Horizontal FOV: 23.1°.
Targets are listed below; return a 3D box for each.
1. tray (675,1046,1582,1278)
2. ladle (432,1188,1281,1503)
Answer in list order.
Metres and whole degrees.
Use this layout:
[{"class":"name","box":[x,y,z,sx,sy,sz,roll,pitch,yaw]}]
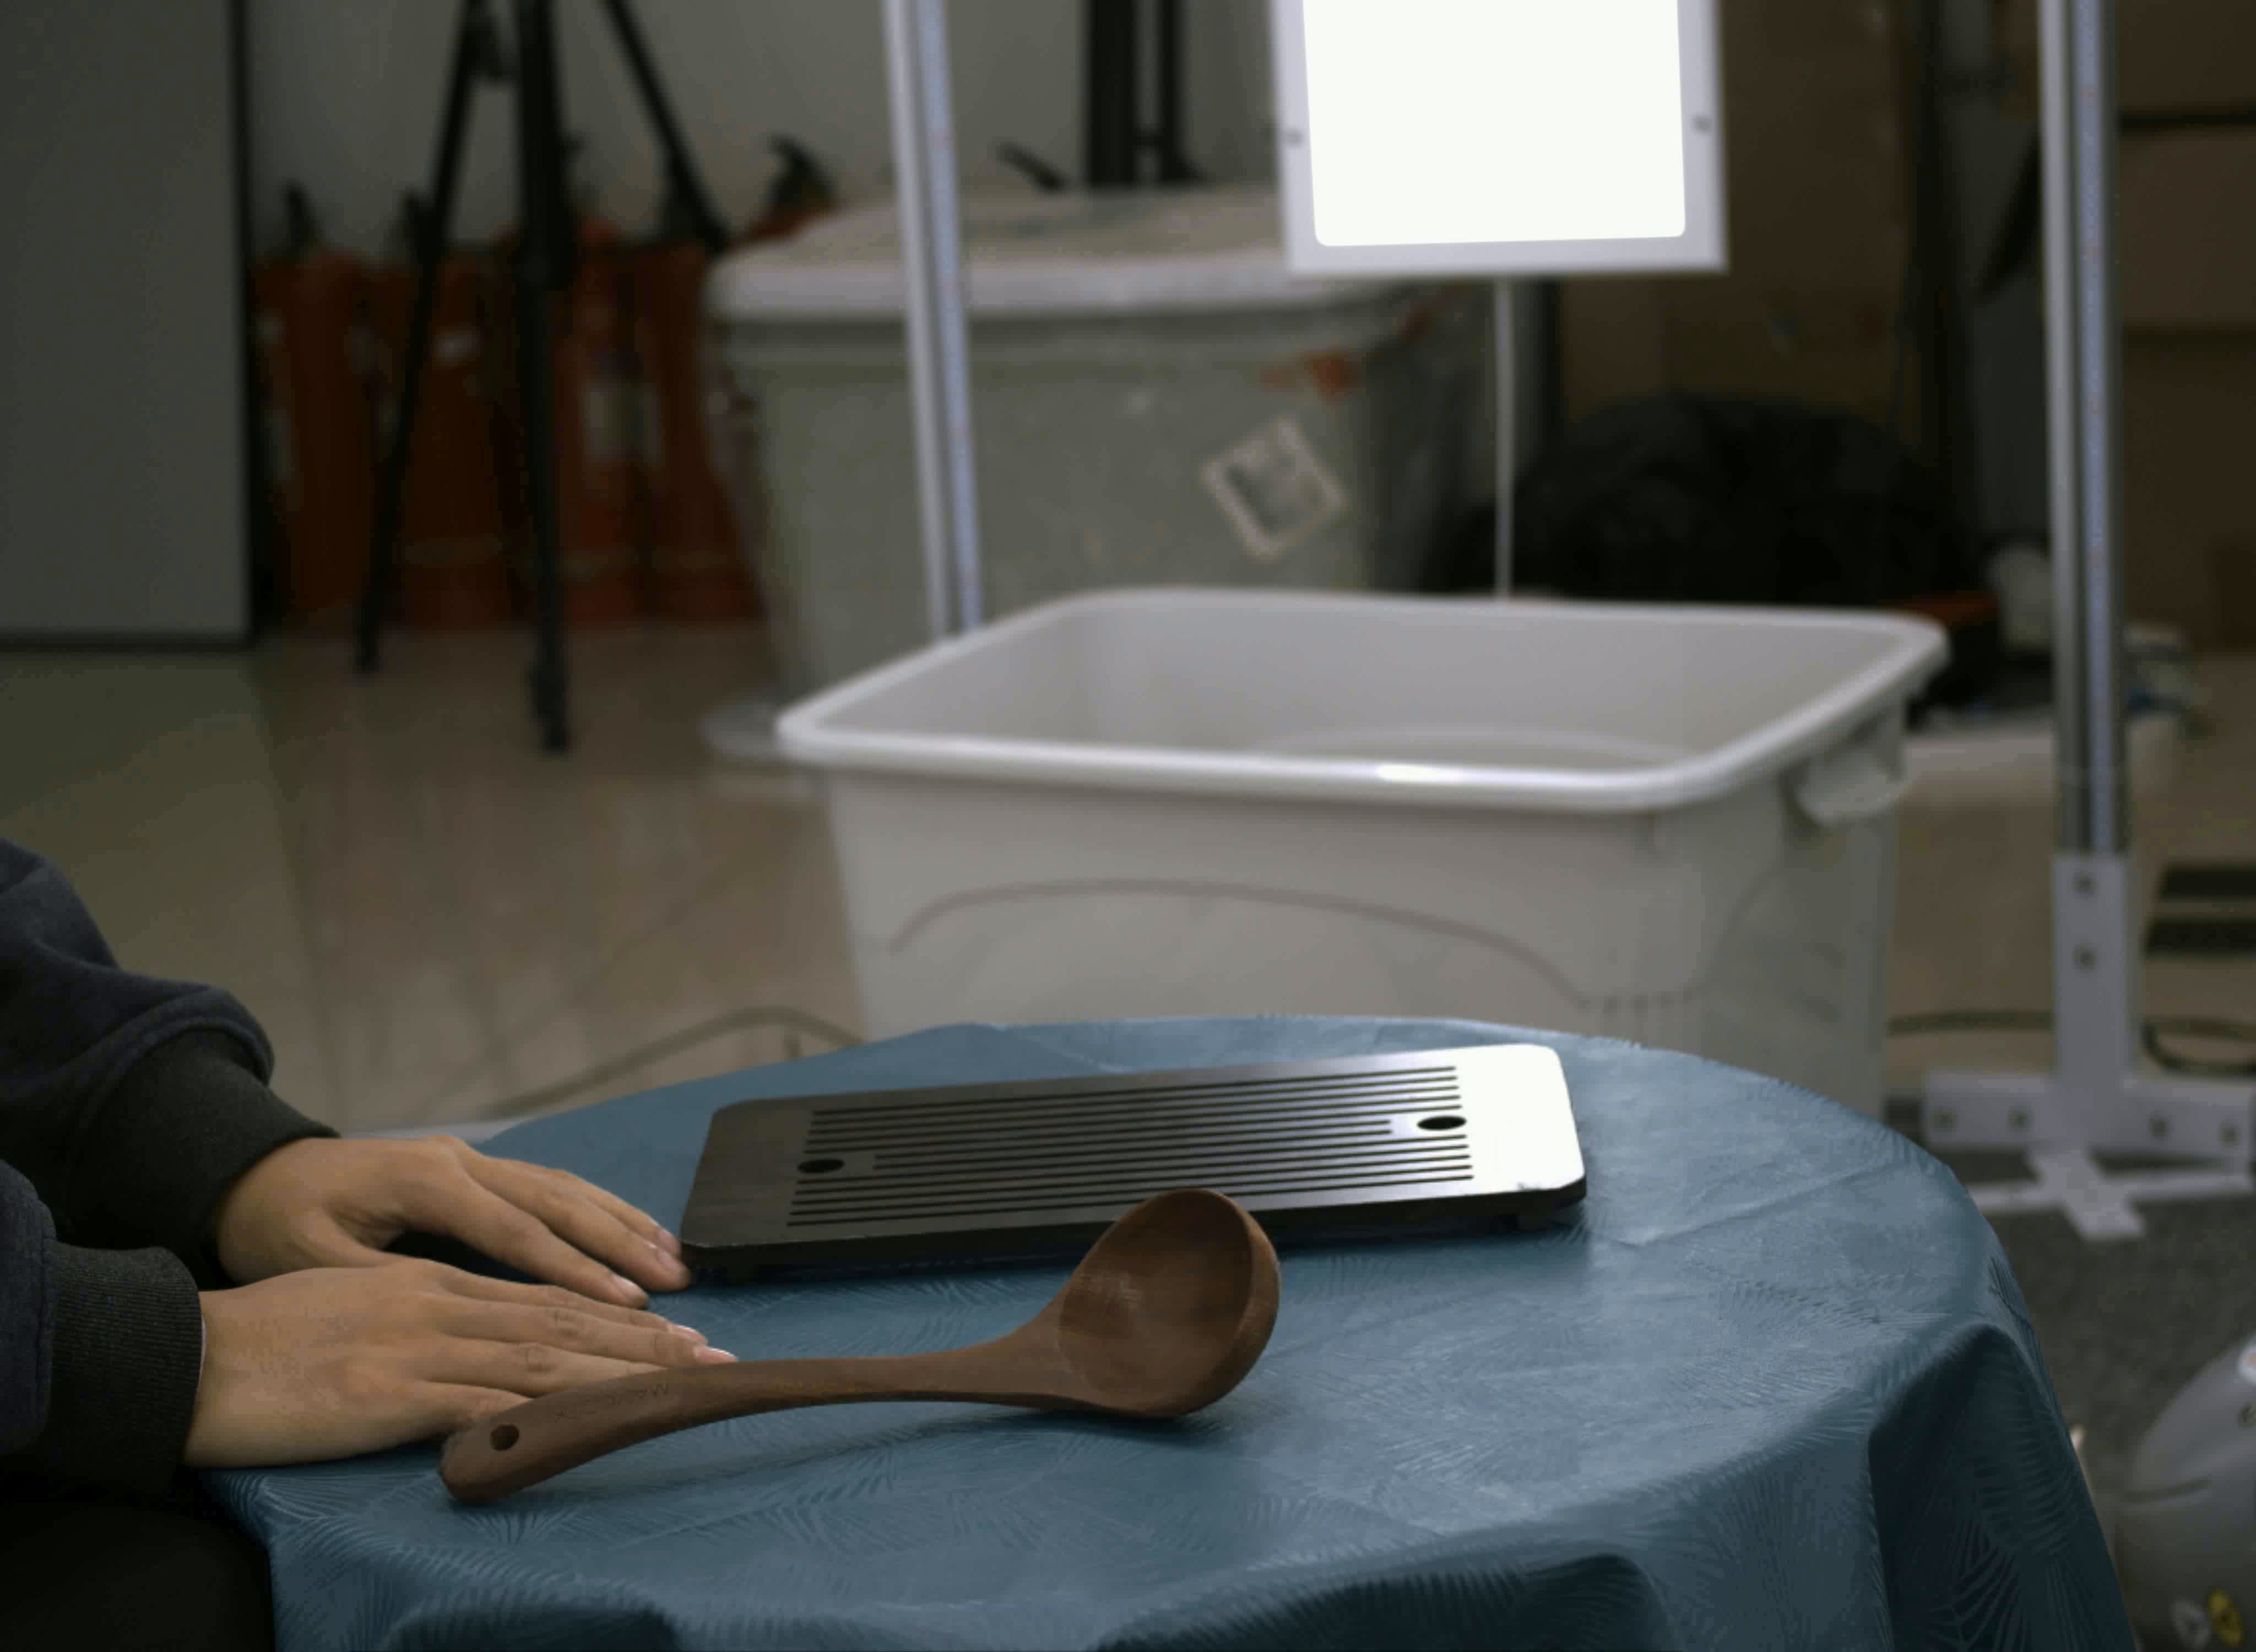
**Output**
[{"class":"tray","box":[0.001,0.116,1.902,0.306,0.019,0.169,-4,14,4]},{"class":"ladle","box":[-0.081,0.159,1.663,0.257,0.065,0.077,-7,40,-9]}]
